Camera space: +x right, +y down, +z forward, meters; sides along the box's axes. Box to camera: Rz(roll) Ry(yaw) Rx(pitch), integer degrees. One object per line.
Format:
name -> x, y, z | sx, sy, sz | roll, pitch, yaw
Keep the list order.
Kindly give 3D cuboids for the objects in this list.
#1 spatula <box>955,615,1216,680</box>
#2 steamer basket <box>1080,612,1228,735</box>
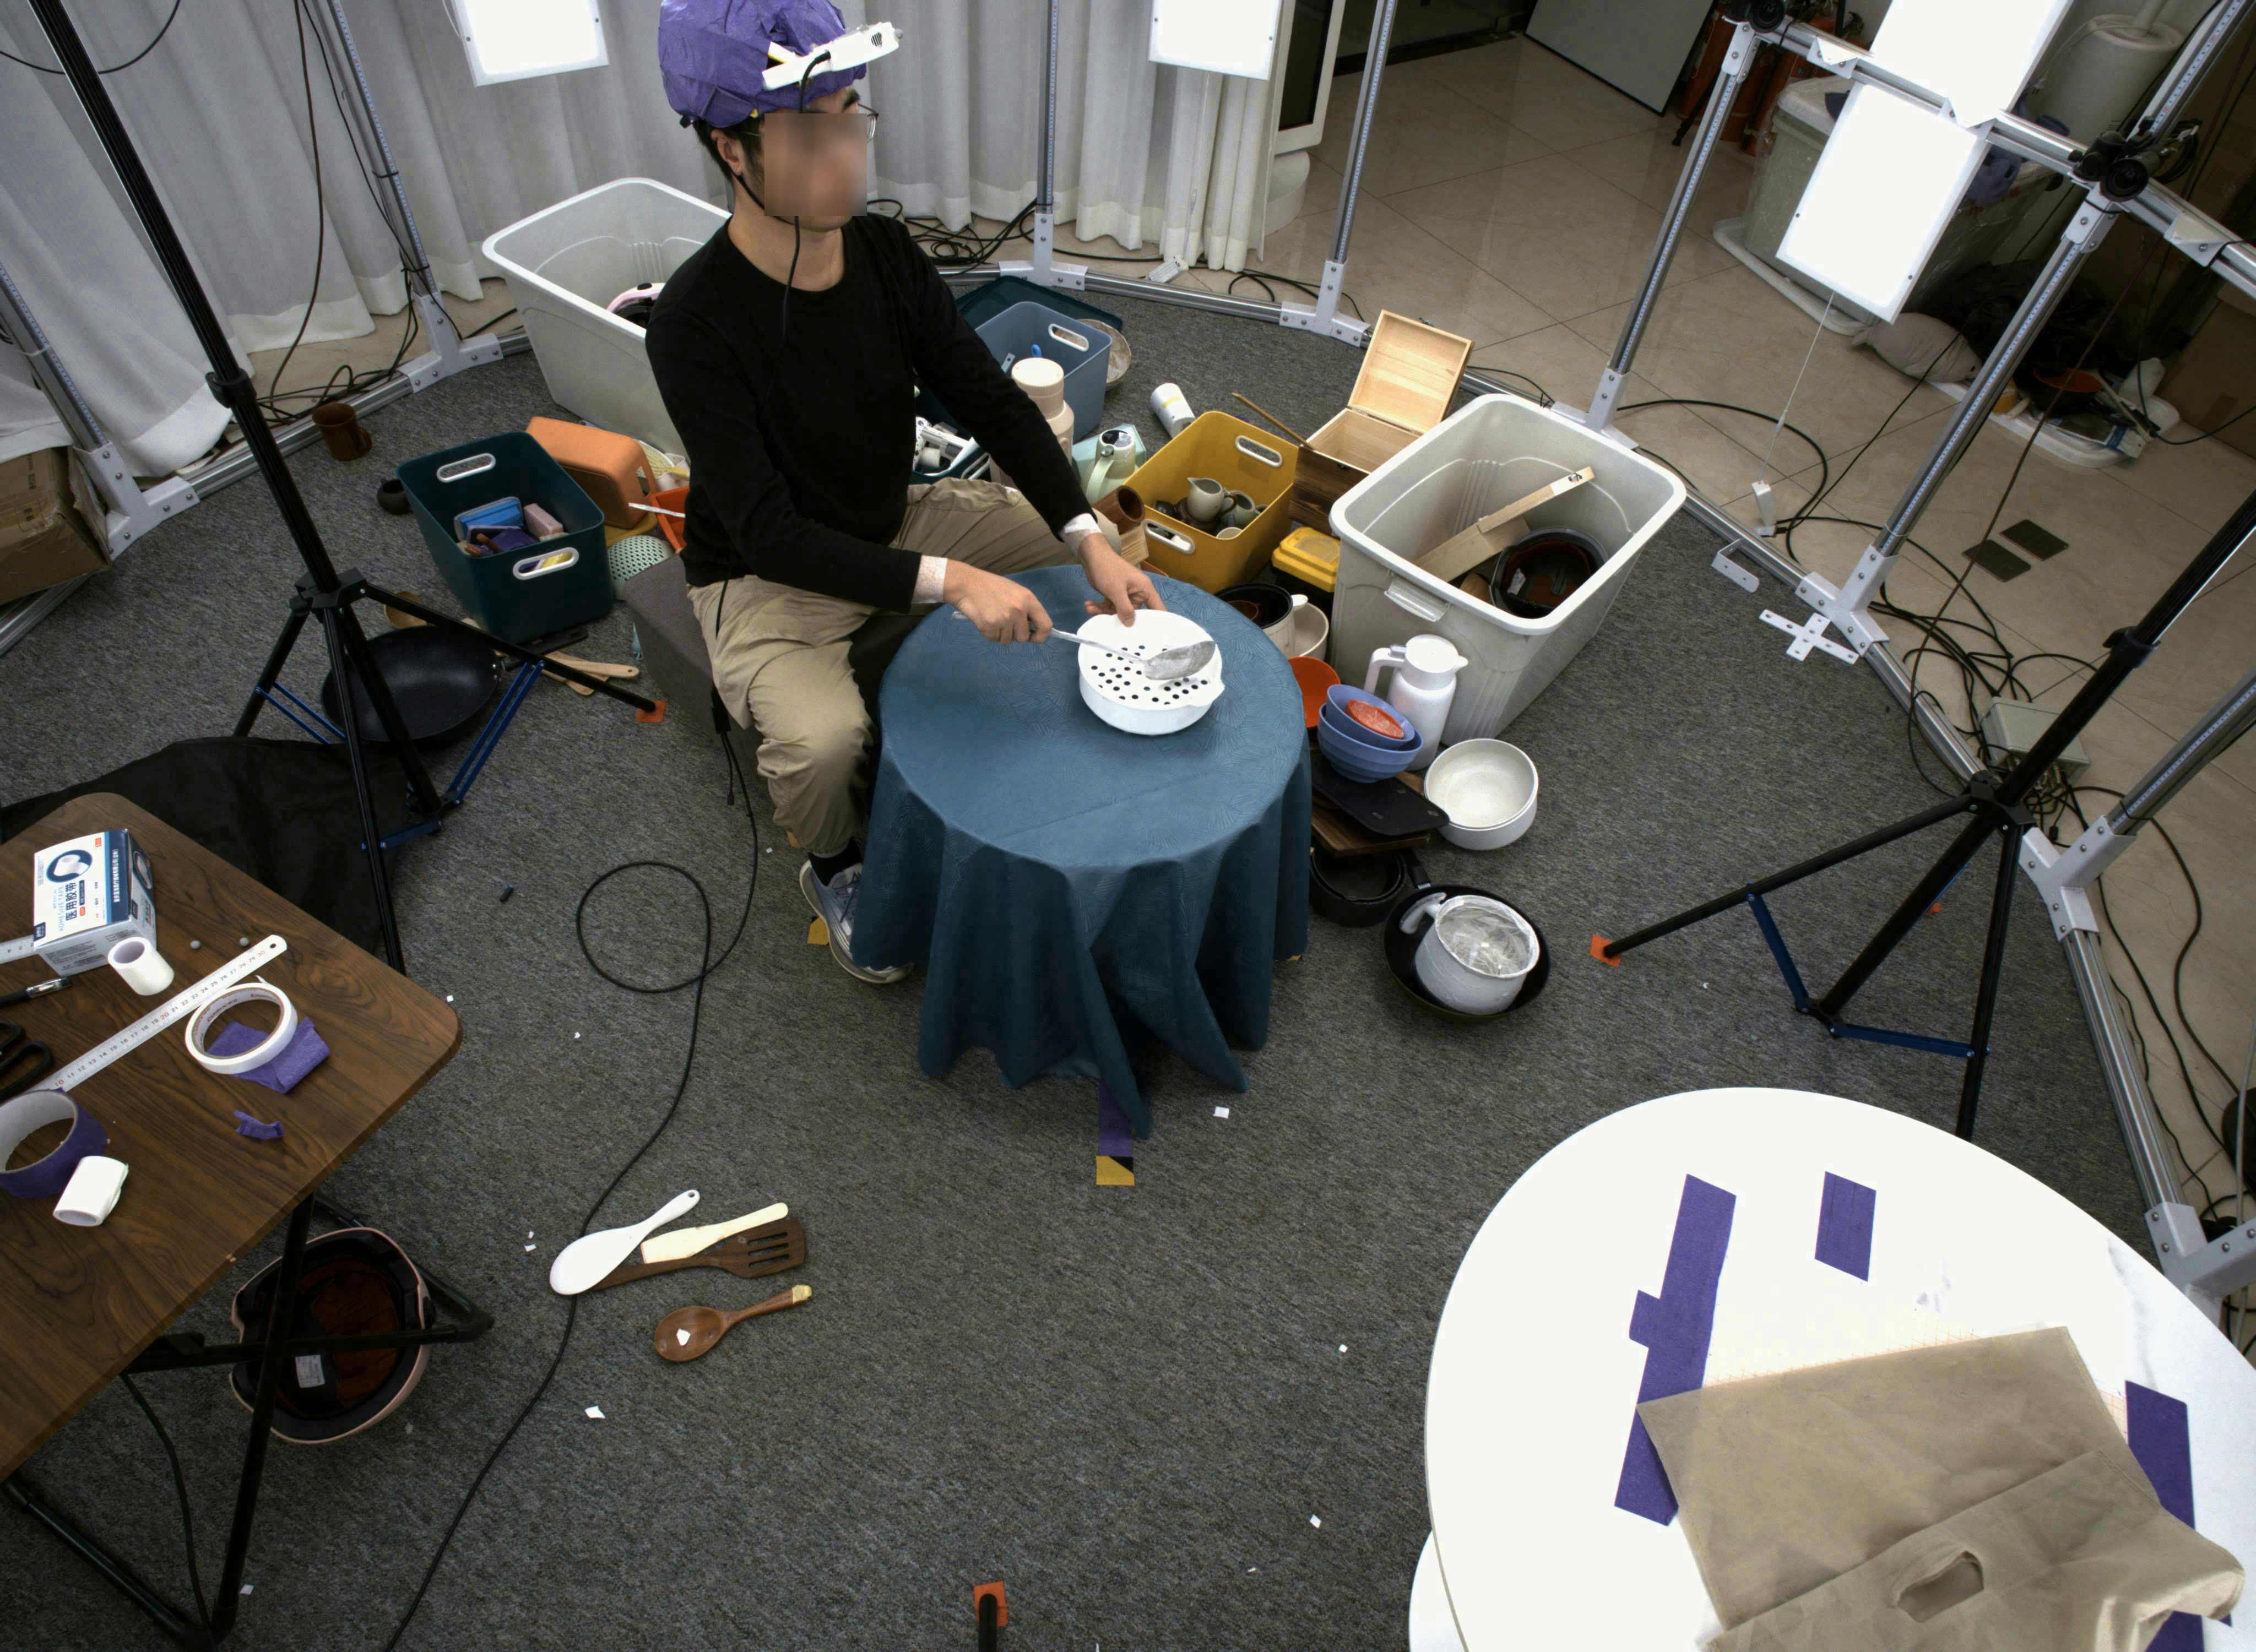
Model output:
spatula -> -0.055, -0.256, 1.768 | 0.363, 0.097, 0.045 | 12, 63, -14
steamer basket -> 0.033, -0.214, 1.813 | 0.233, 0.067, 0.204 | 32, 53, 23
